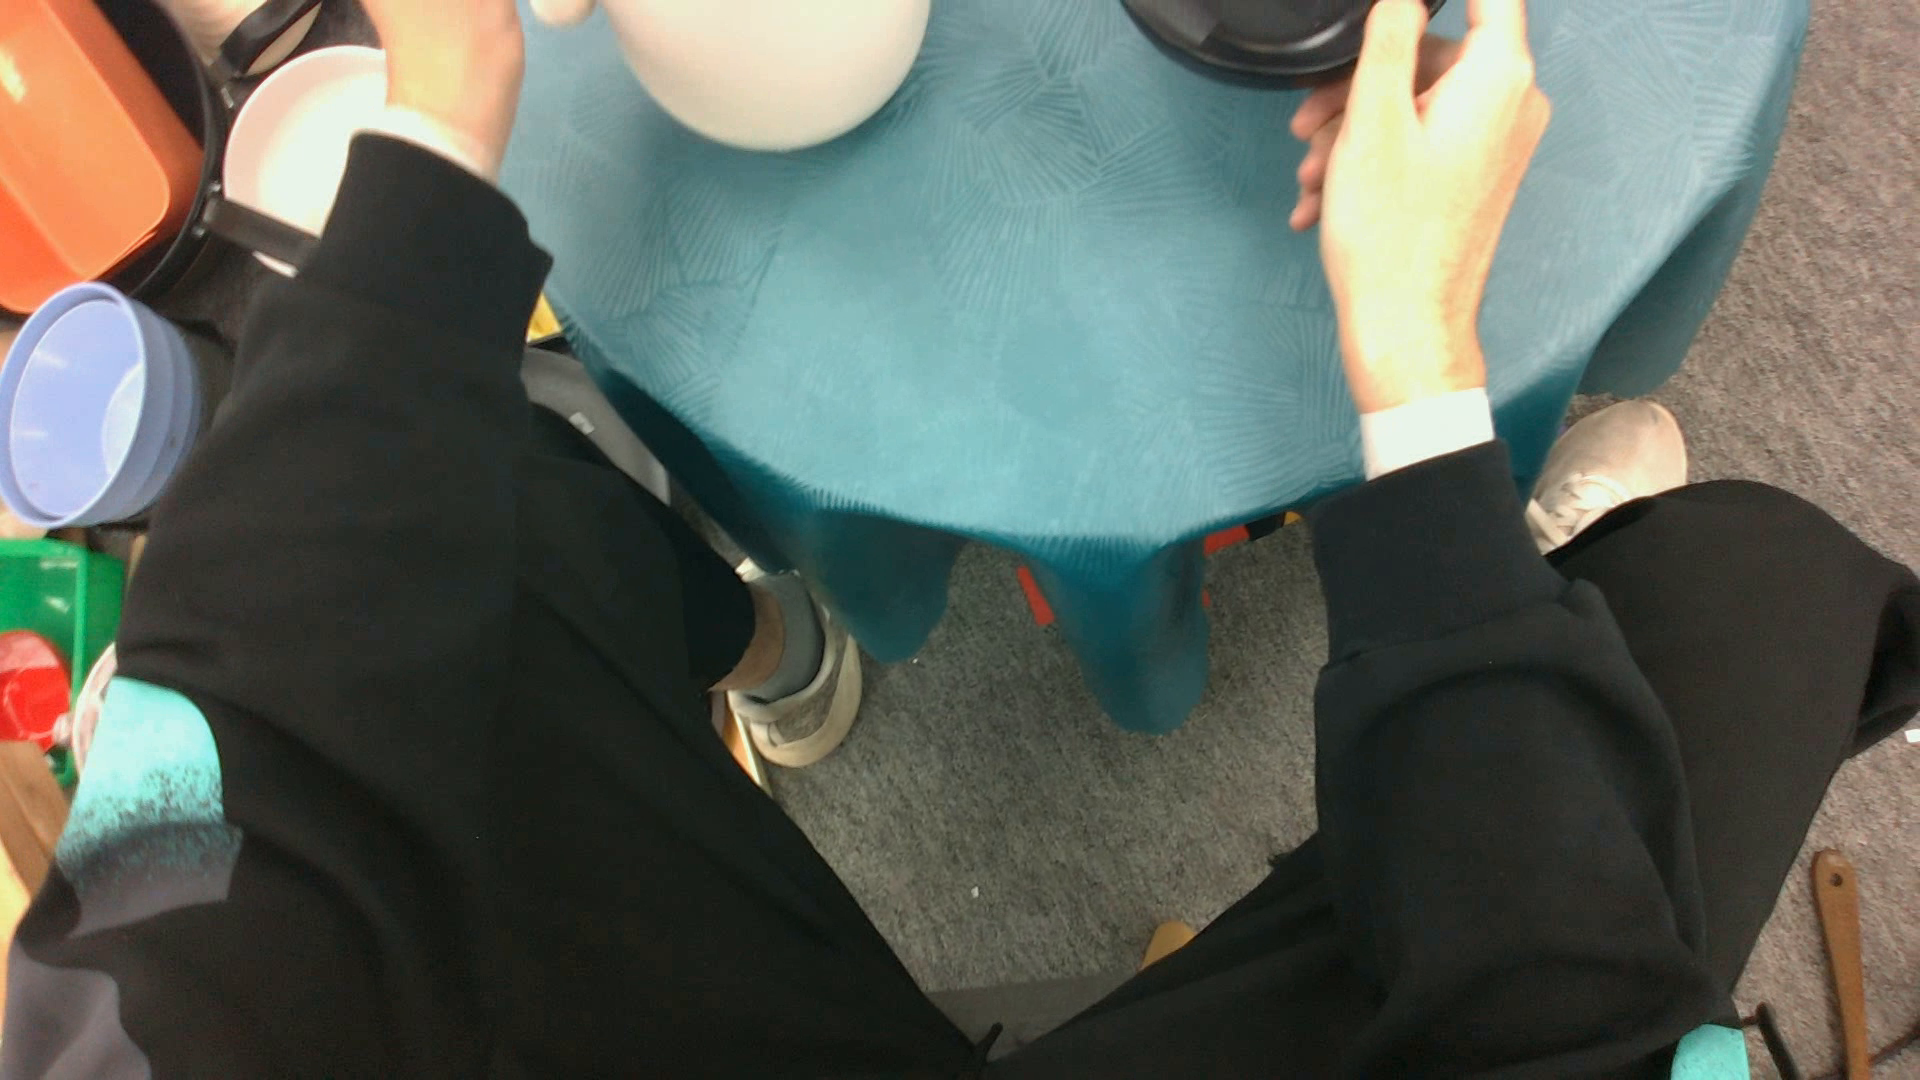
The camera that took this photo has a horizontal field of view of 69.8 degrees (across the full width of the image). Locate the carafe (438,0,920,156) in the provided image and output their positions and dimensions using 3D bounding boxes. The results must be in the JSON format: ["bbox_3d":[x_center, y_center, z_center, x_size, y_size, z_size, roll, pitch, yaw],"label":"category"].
[{"bbox_3d":[-0.108,-0.232,0.503,0.191,0.182,0.132,-10,78,1],"label":"carafe"}]

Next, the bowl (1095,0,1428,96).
[{"bbox_3d":[0.112,-0.229,0.525,0.140,0.050,0.140,-1,83,5],"label":"bowl"}]
